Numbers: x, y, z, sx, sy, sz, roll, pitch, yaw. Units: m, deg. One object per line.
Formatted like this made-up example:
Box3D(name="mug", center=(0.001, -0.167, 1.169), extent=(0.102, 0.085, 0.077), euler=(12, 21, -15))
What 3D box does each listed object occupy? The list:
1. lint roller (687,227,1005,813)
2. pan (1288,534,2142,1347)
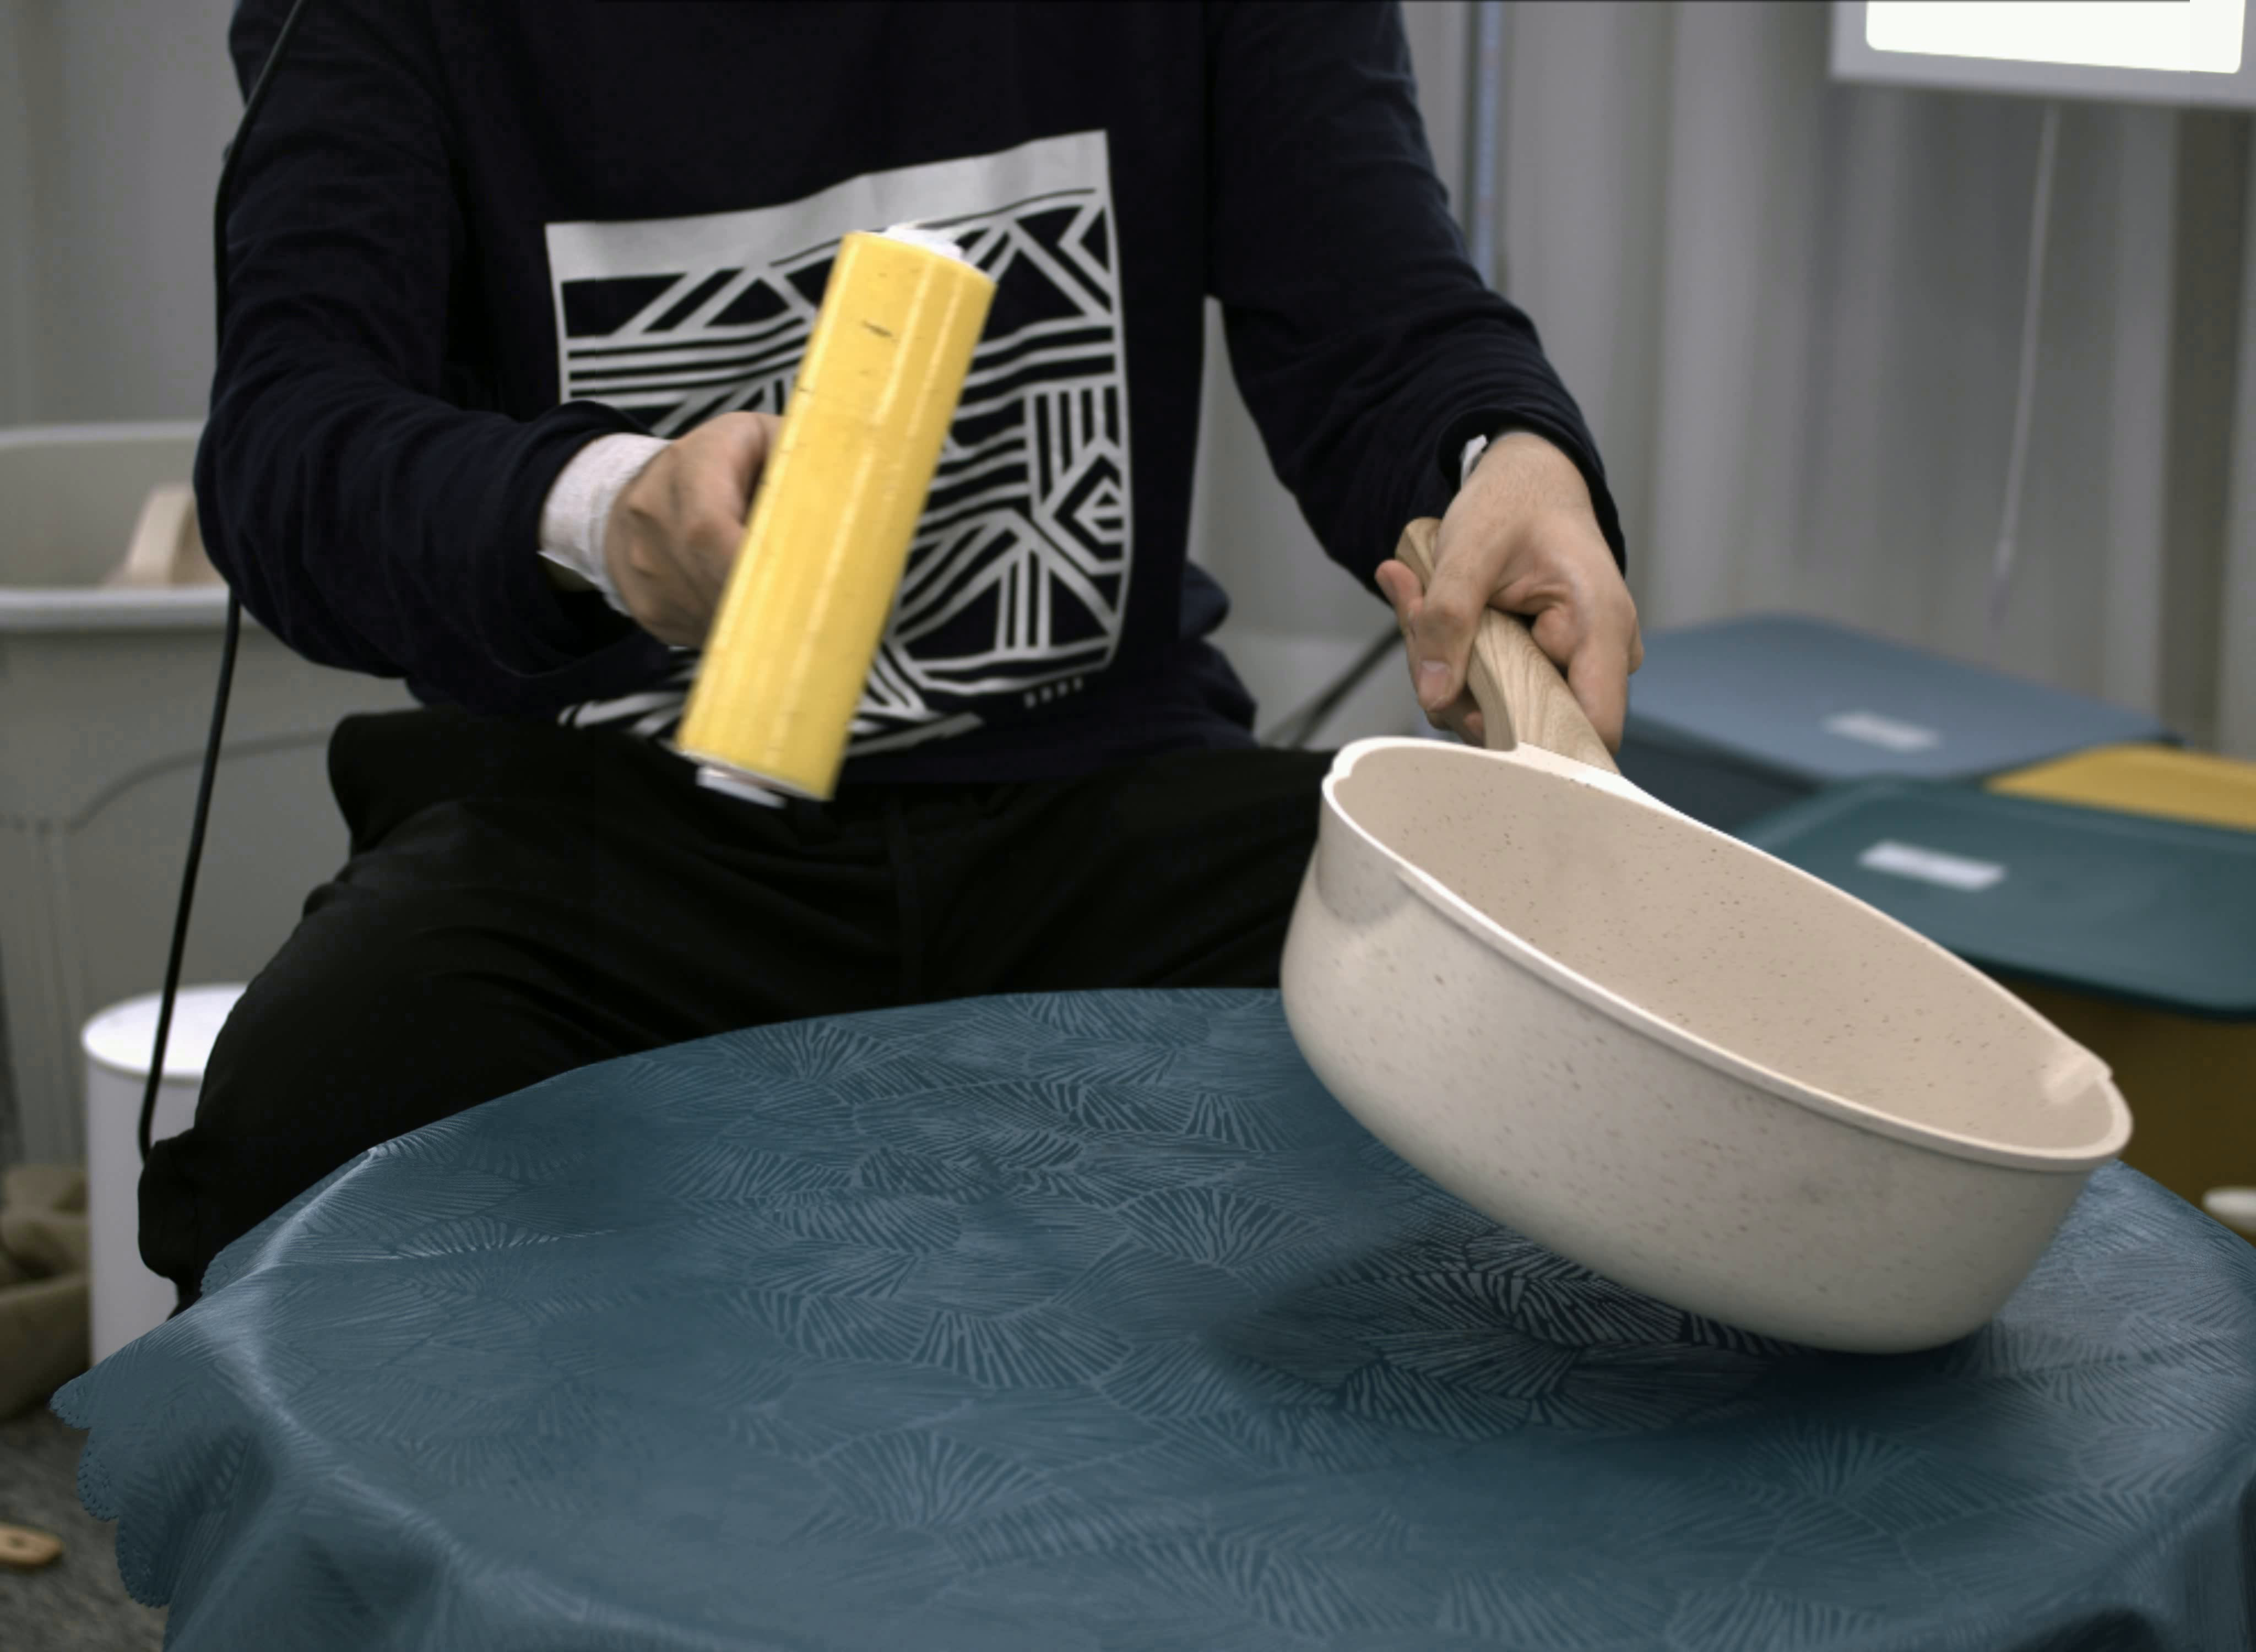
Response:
Box3D(name="lint roller", center=(-0.106, -0.090, 1.597), extent=(0.052, 0.174, 0.190), euler=(19, -5, -21))
Box3D(name="pan", center=(0.139, 0.027, 1.596), extent=(0.265, 0.102, 0.430), euler=(17, 16, -22))
